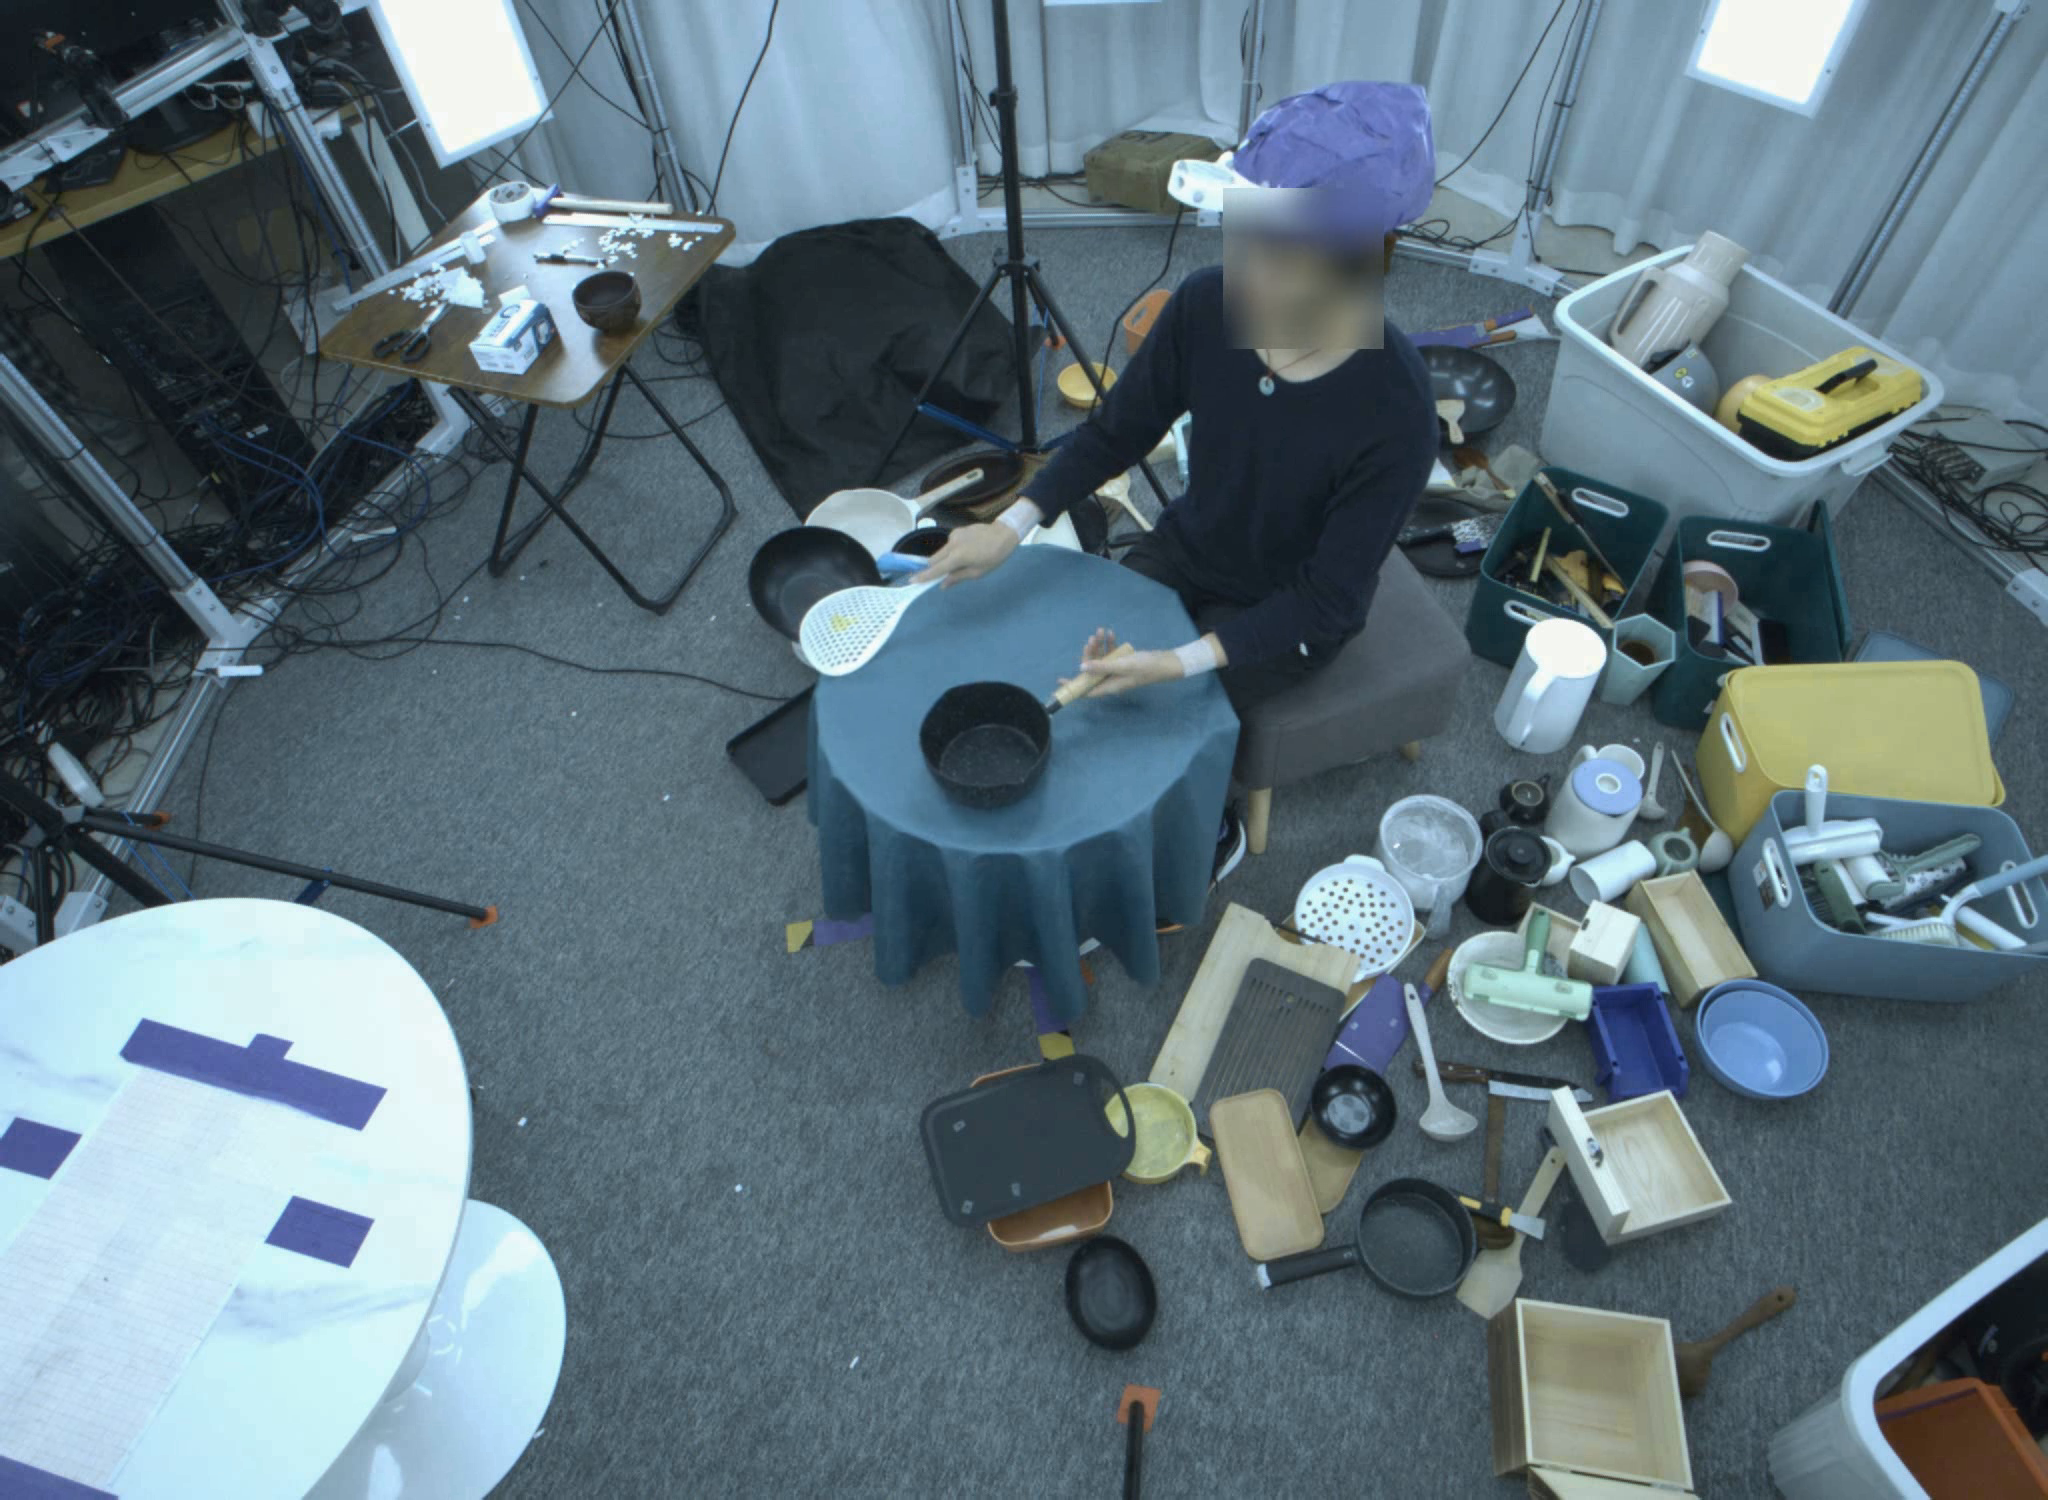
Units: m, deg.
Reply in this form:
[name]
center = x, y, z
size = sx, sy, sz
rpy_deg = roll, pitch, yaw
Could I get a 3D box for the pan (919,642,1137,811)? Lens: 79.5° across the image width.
[pan]
center = 0.015, -0.044, 1.751
size = 0.345, 0.109, 0.203
rpy_deg = -30, 58, -16

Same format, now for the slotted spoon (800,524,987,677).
[slotted spoon]
center = -0.192, -0.242, 1.875
size = 0.349, 0.139, 0.049
rpy_deg = -32, 41, -10
